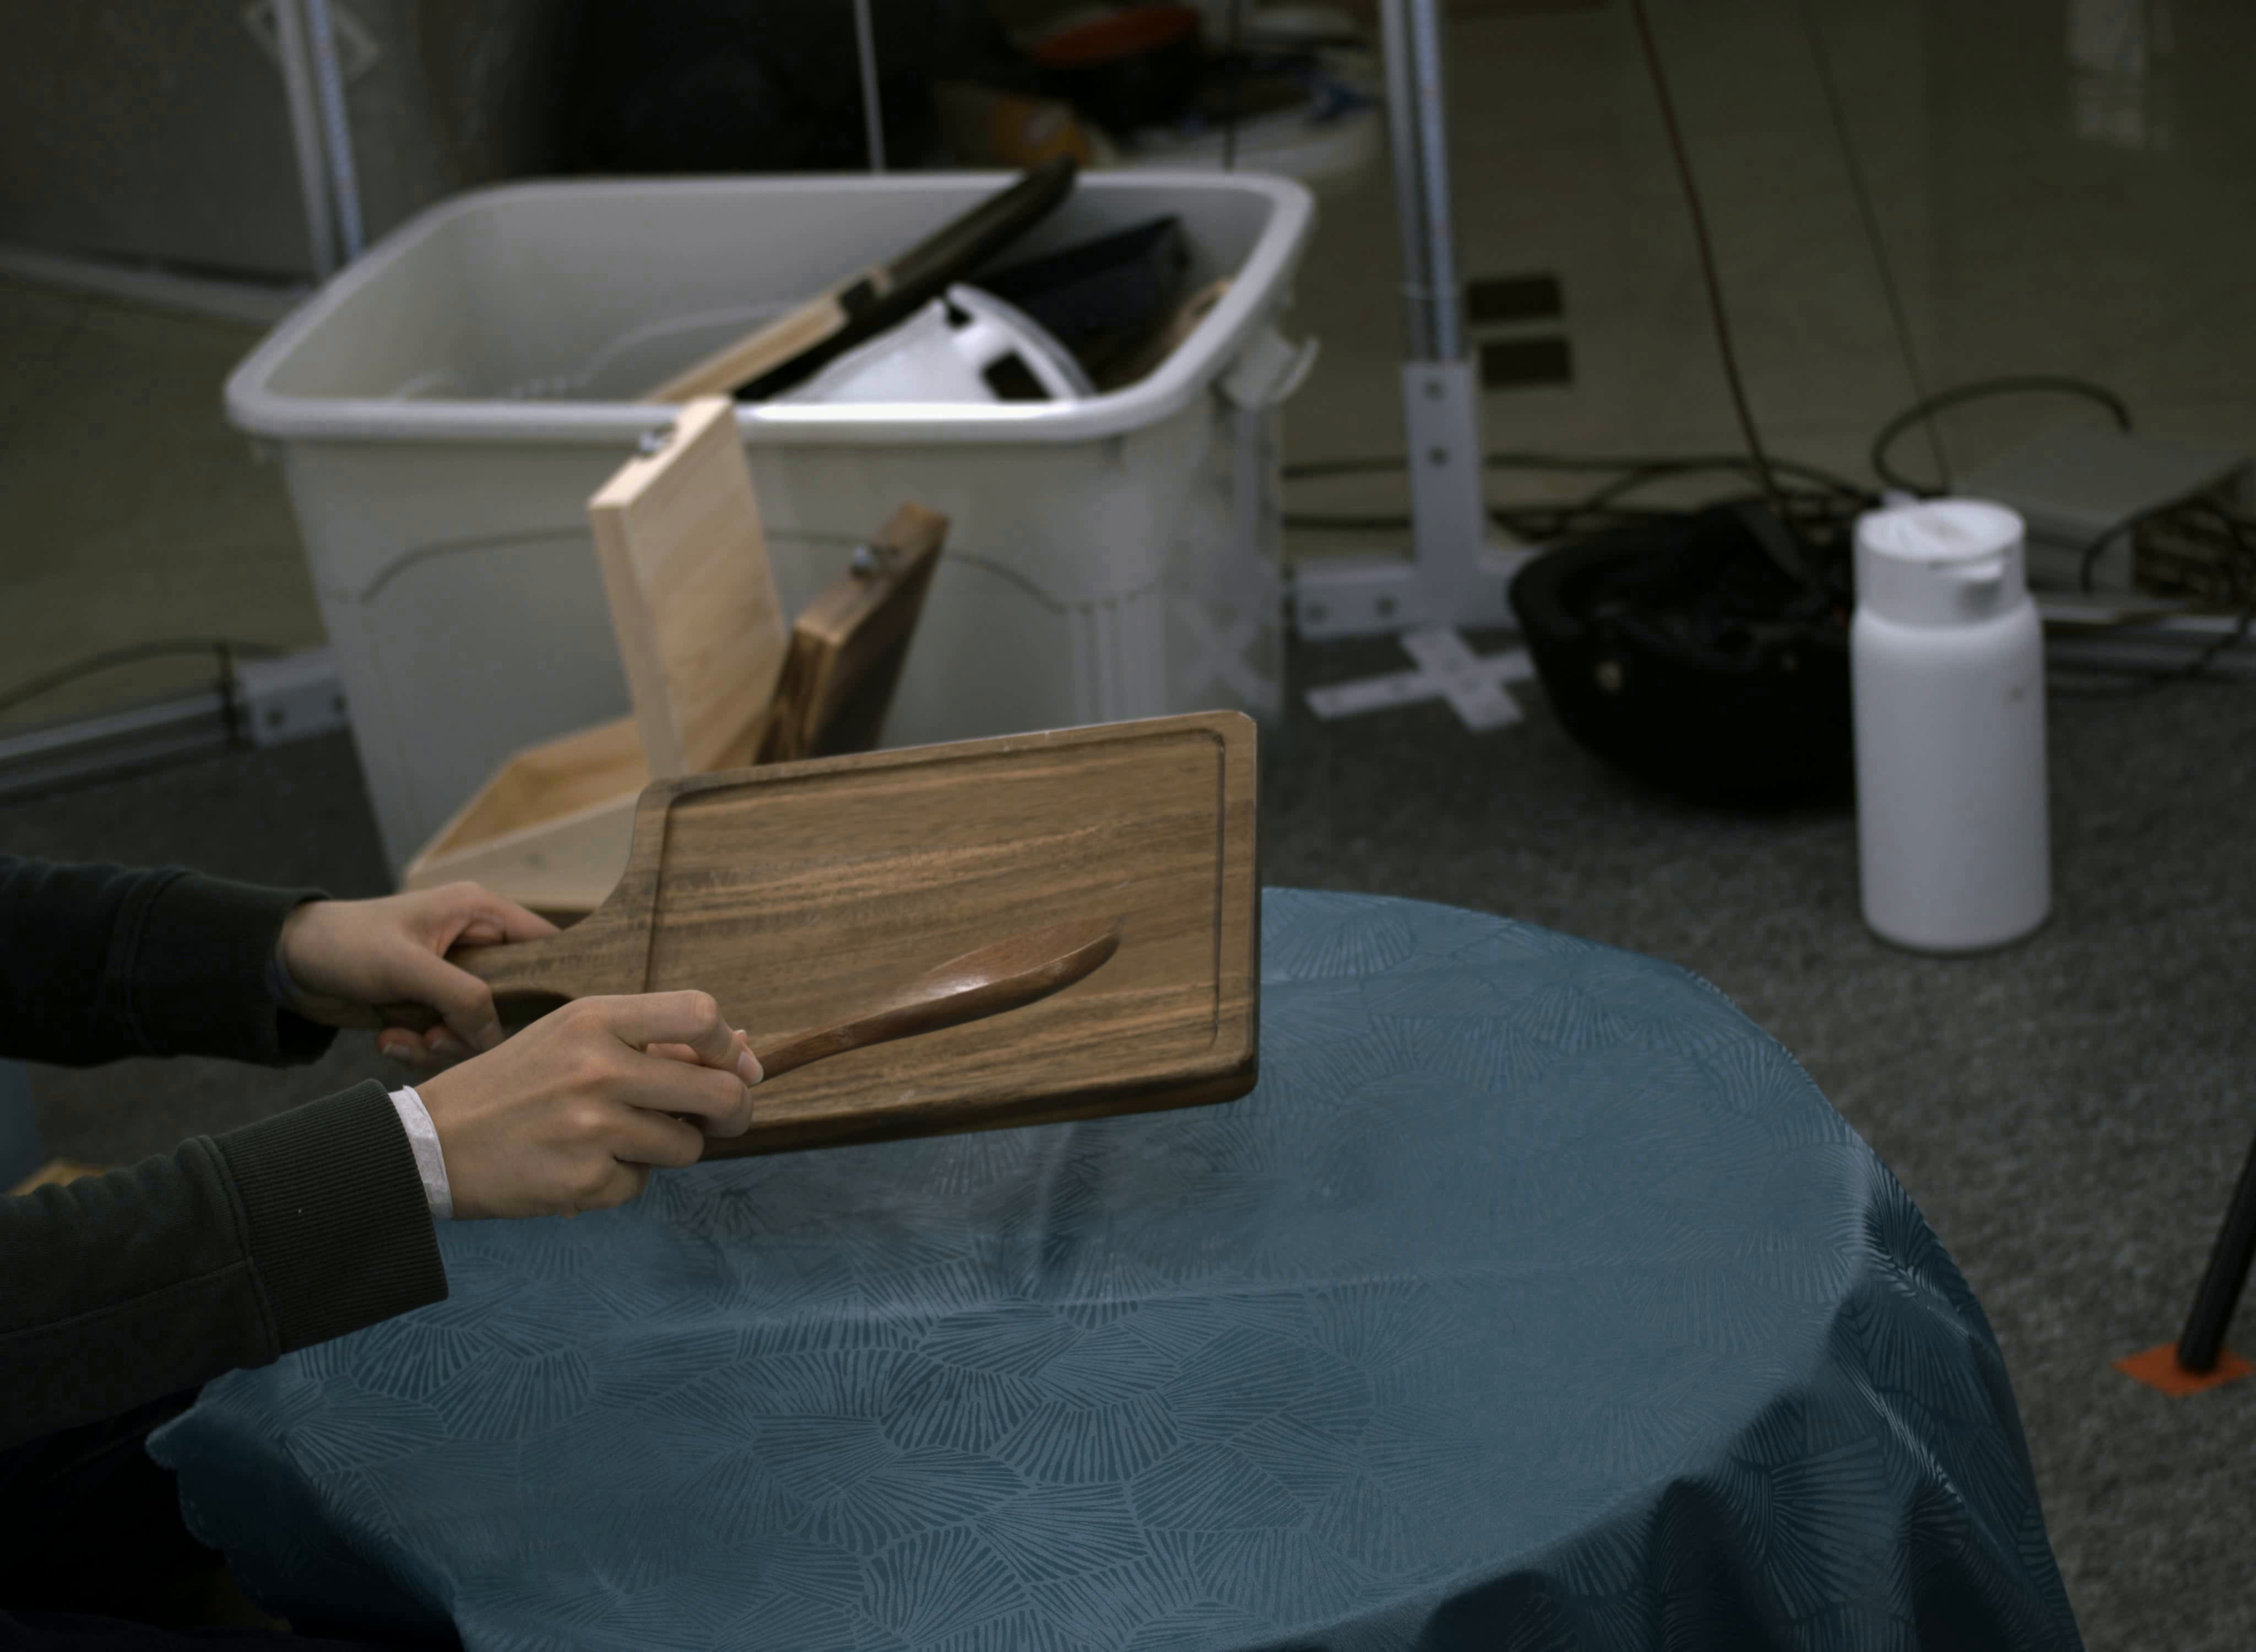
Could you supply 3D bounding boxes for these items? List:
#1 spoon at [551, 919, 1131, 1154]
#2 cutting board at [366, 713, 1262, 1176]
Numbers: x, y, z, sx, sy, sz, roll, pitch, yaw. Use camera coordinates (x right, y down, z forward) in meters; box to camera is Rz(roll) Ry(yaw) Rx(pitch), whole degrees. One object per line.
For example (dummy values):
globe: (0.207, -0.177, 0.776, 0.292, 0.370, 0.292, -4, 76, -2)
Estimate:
spoon: (-0.099, 0.074, 1.978, 0.215, 0.017, 0.075, -19, 12, -11)
cutting board: (-0.122, 0.049, 2.177, 0.352, 0.023, 0.197, -7, 45, 9)
